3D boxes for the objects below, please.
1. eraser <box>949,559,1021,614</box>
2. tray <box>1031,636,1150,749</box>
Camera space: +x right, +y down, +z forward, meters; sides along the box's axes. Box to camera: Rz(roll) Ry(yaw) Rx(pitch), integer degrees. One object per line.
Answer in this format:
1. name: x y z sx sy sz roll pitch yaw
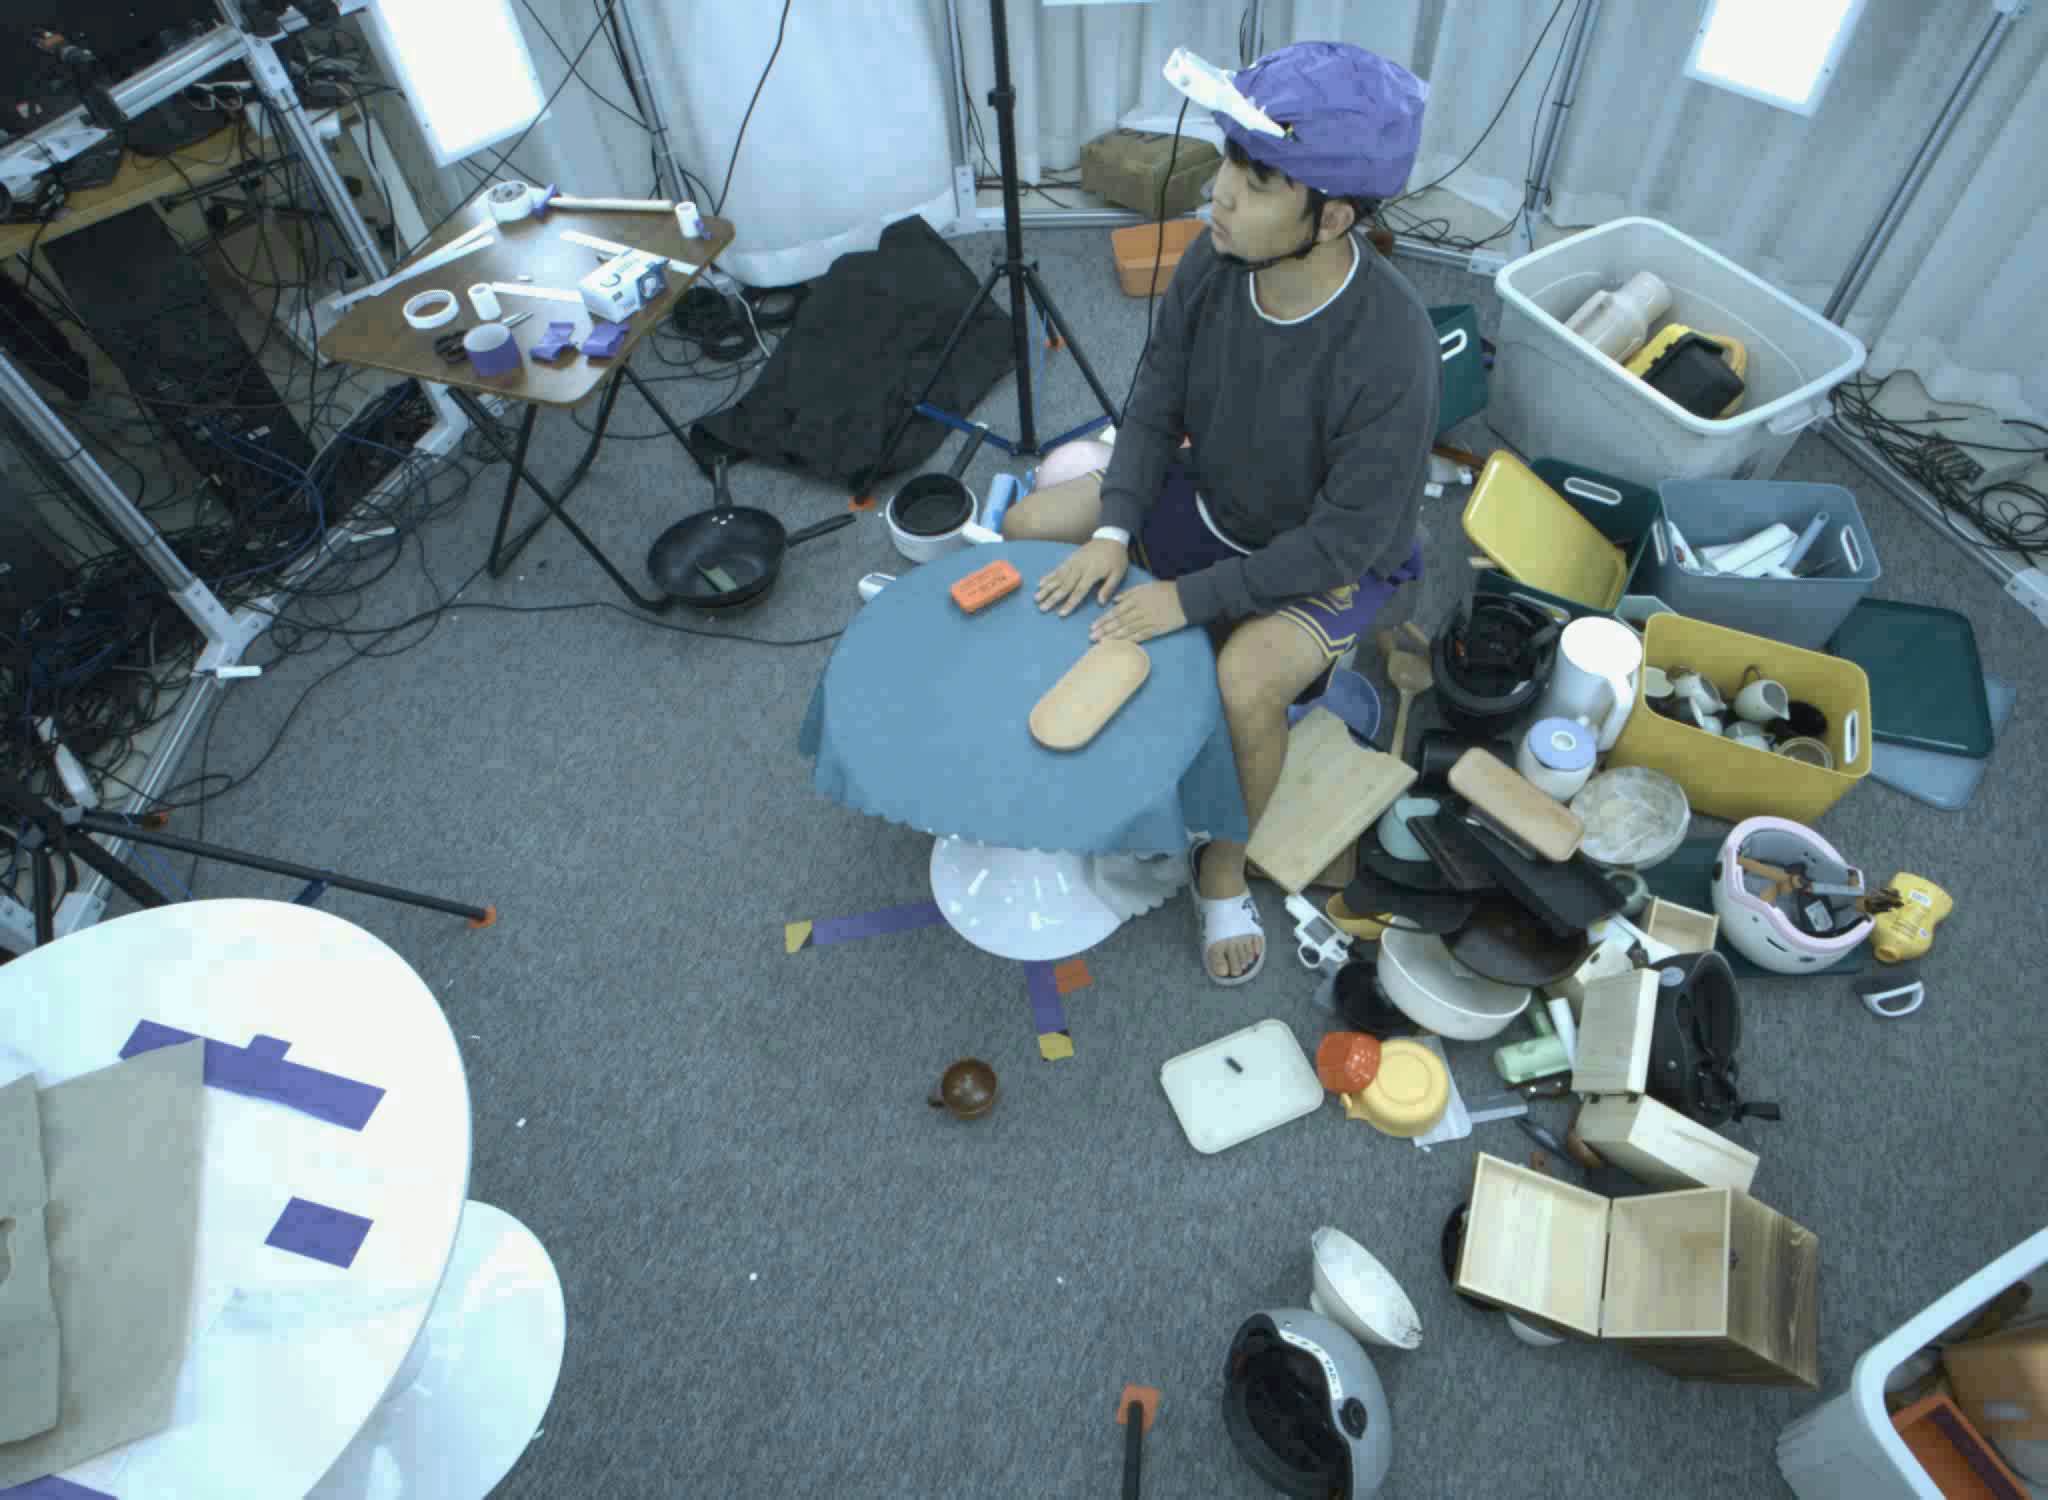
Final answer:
1. eraser: -0.063 -0.262 1.964 0.109 0.023 0.058 -31 58 -19
2. tray: 0.100 -0.087 1.838 0.100 0.020 0.232 32 60 21
